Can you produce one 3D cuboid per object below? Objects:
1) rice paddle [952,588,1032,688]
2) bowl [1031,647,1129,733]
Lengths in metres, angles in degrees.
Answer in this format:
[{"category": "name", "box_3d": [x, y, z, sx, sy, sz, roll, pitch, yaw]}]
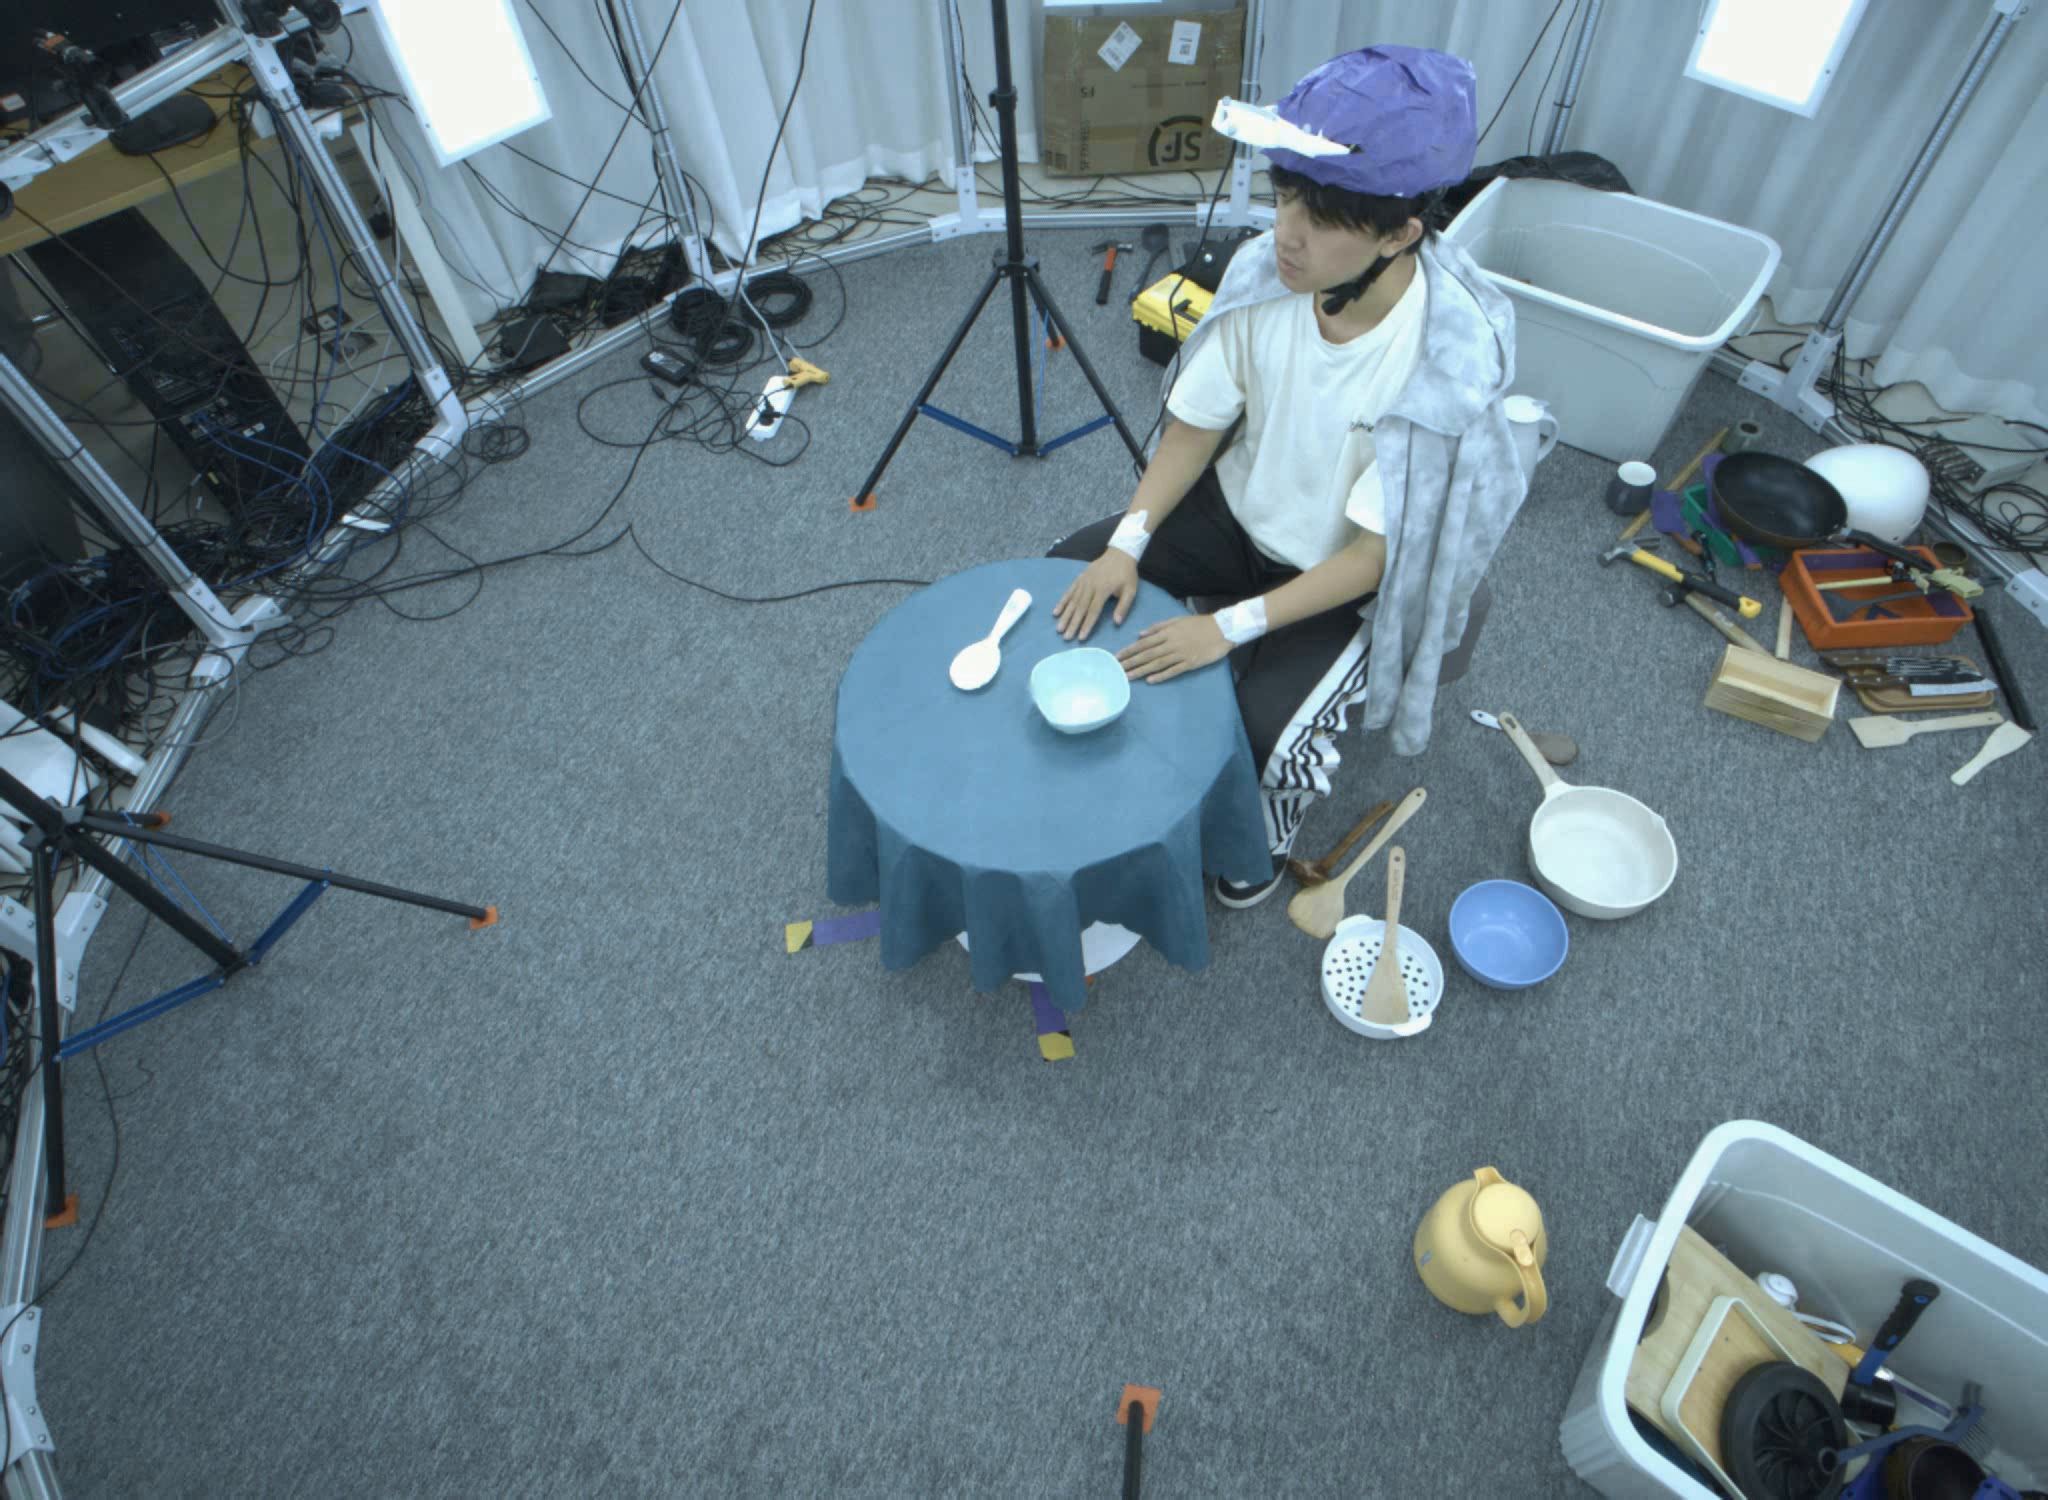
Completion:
[{"category": "rice paddle", "box_3d": [-0.046, -0.171, 1.894, 0.068, 0.030, 0.205, 20, 58, 18]}, {"category": "bowl", "box_3d": [0.083, -0.078, 1.807, 0.151, 0.059, 0.150, -2, 55, 4]}]
